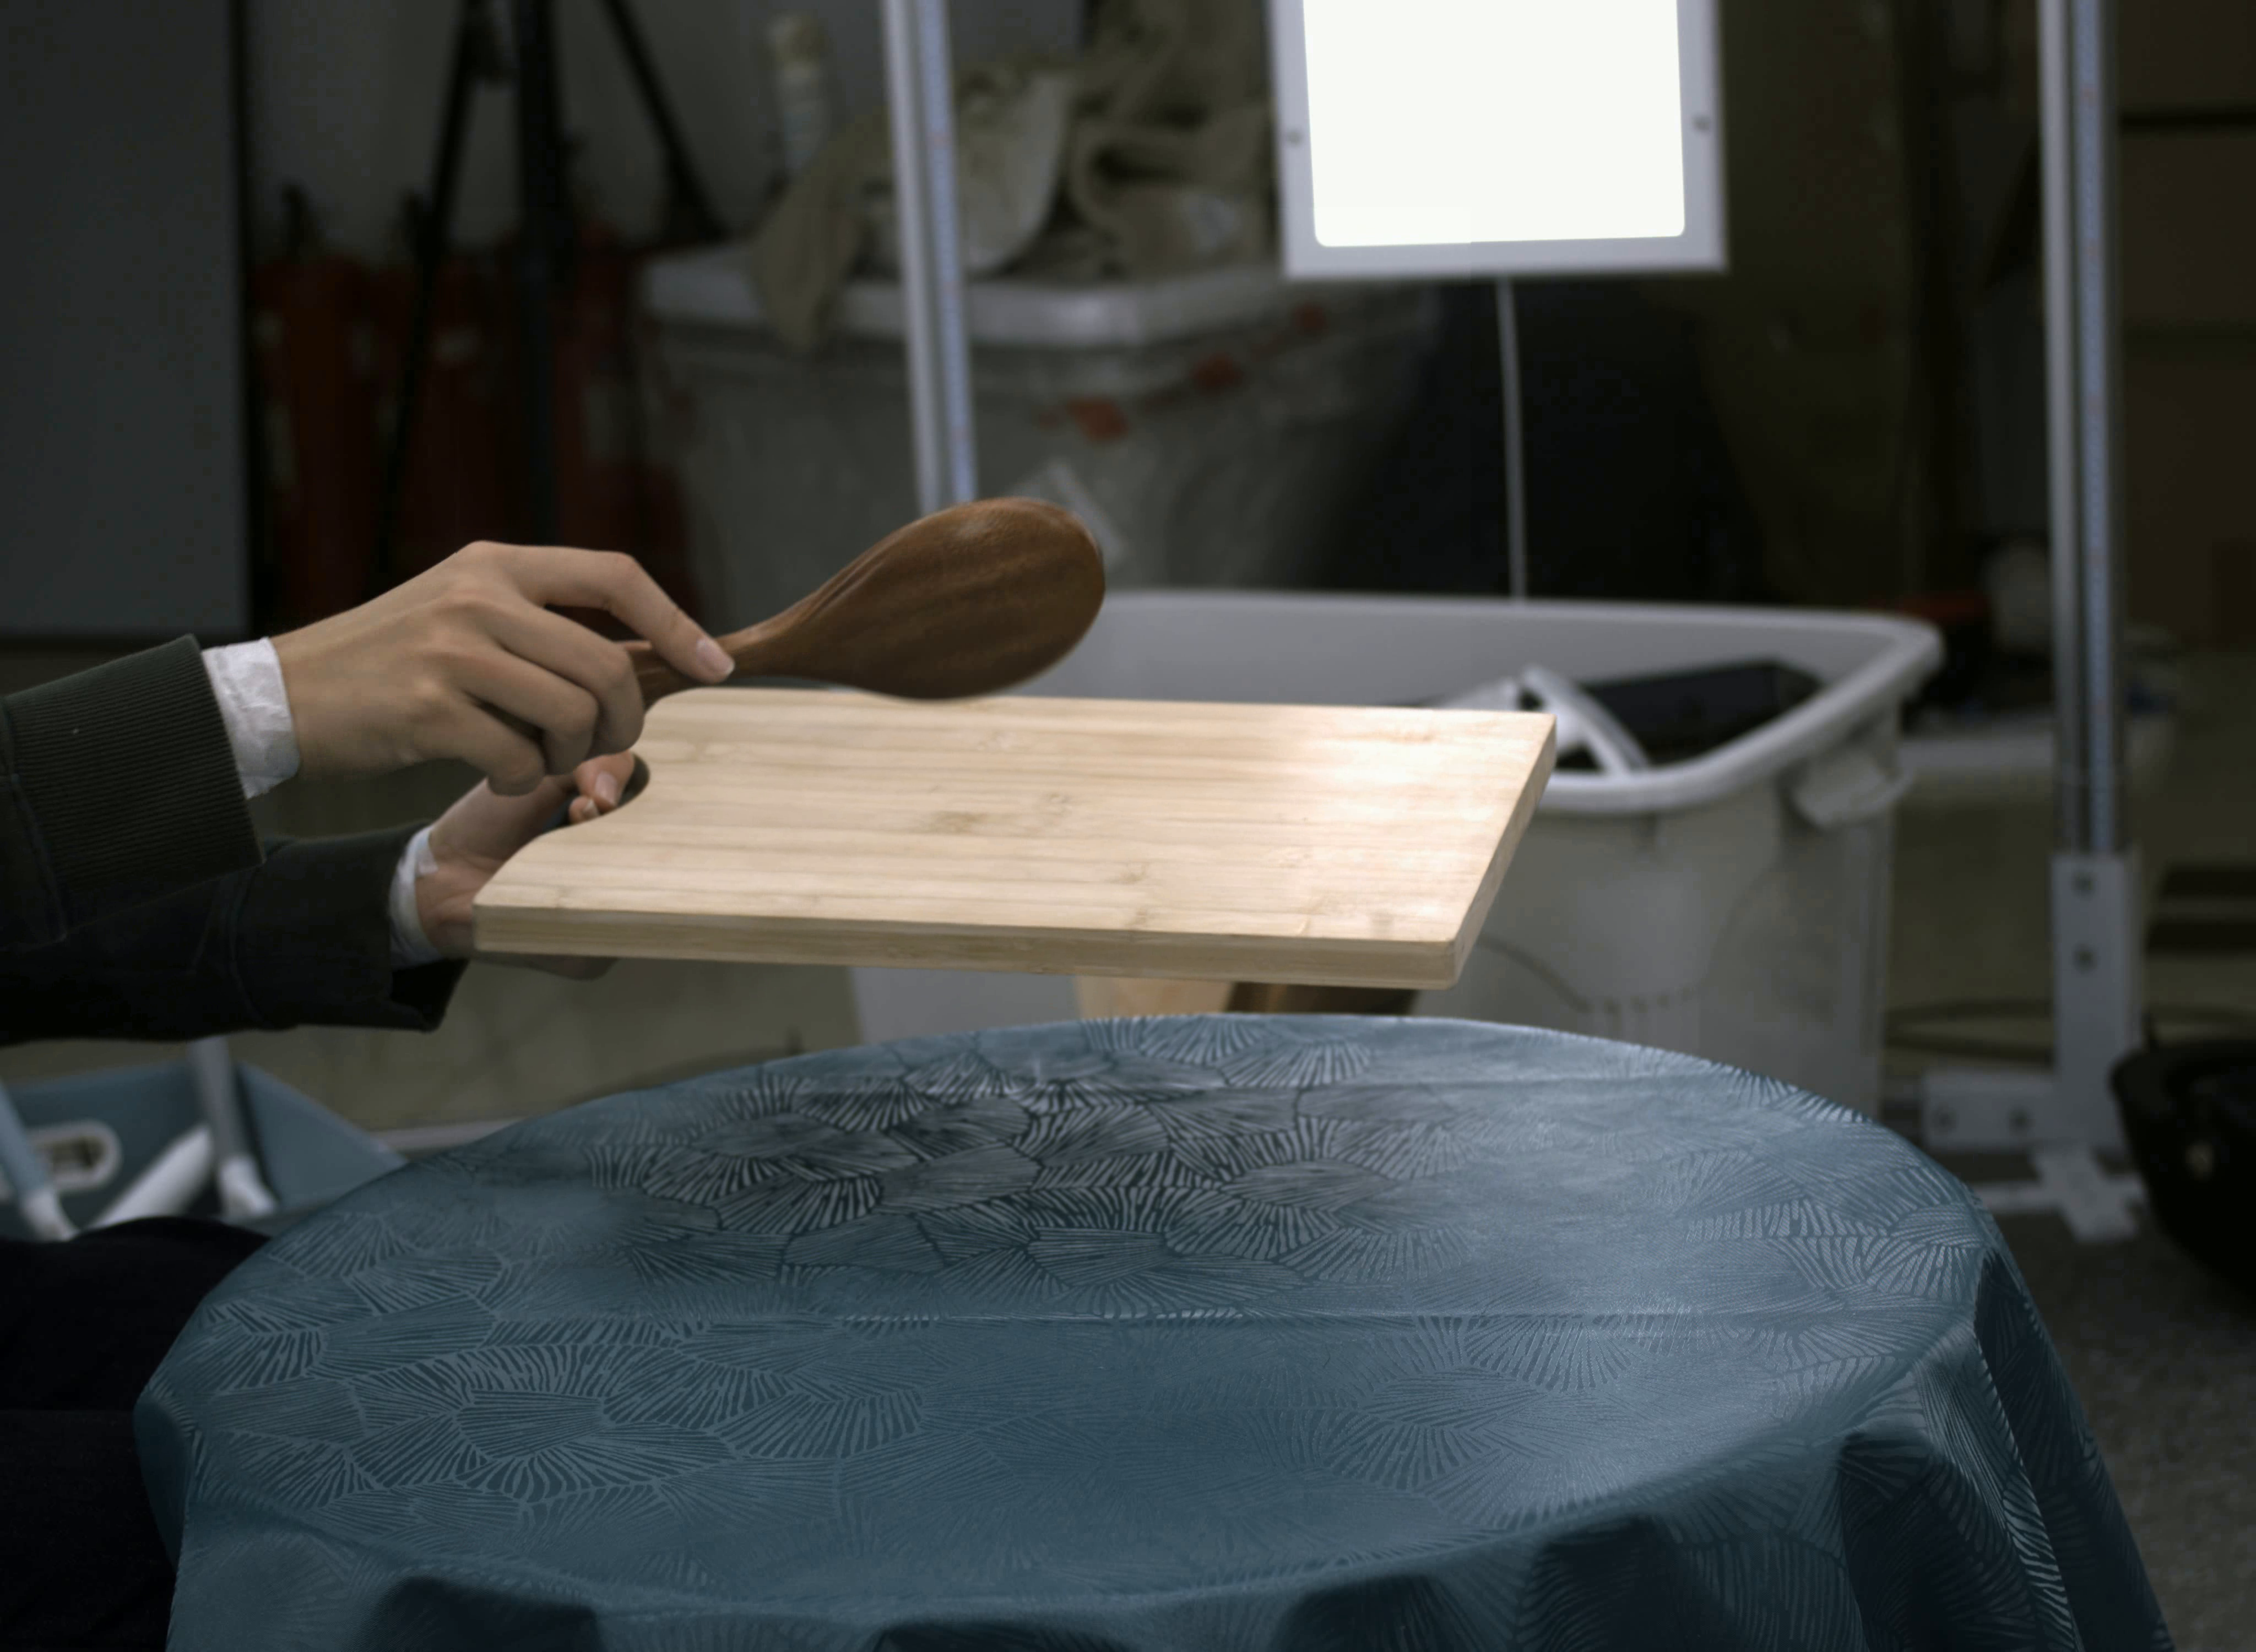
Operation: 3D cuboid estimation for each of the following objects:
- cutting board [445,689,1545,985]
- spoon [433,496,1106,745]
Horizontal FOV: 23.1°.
[{"bbox_3d":[-0.040,0.001,1.943,0.351,0.024,0.247,1,19,13],"label":"cutting board"},{"bbox_3d":[-0.107,-0.056,1.689,0.213,0.076,0.017,-12,49,-11],"label":"spoon"}]
